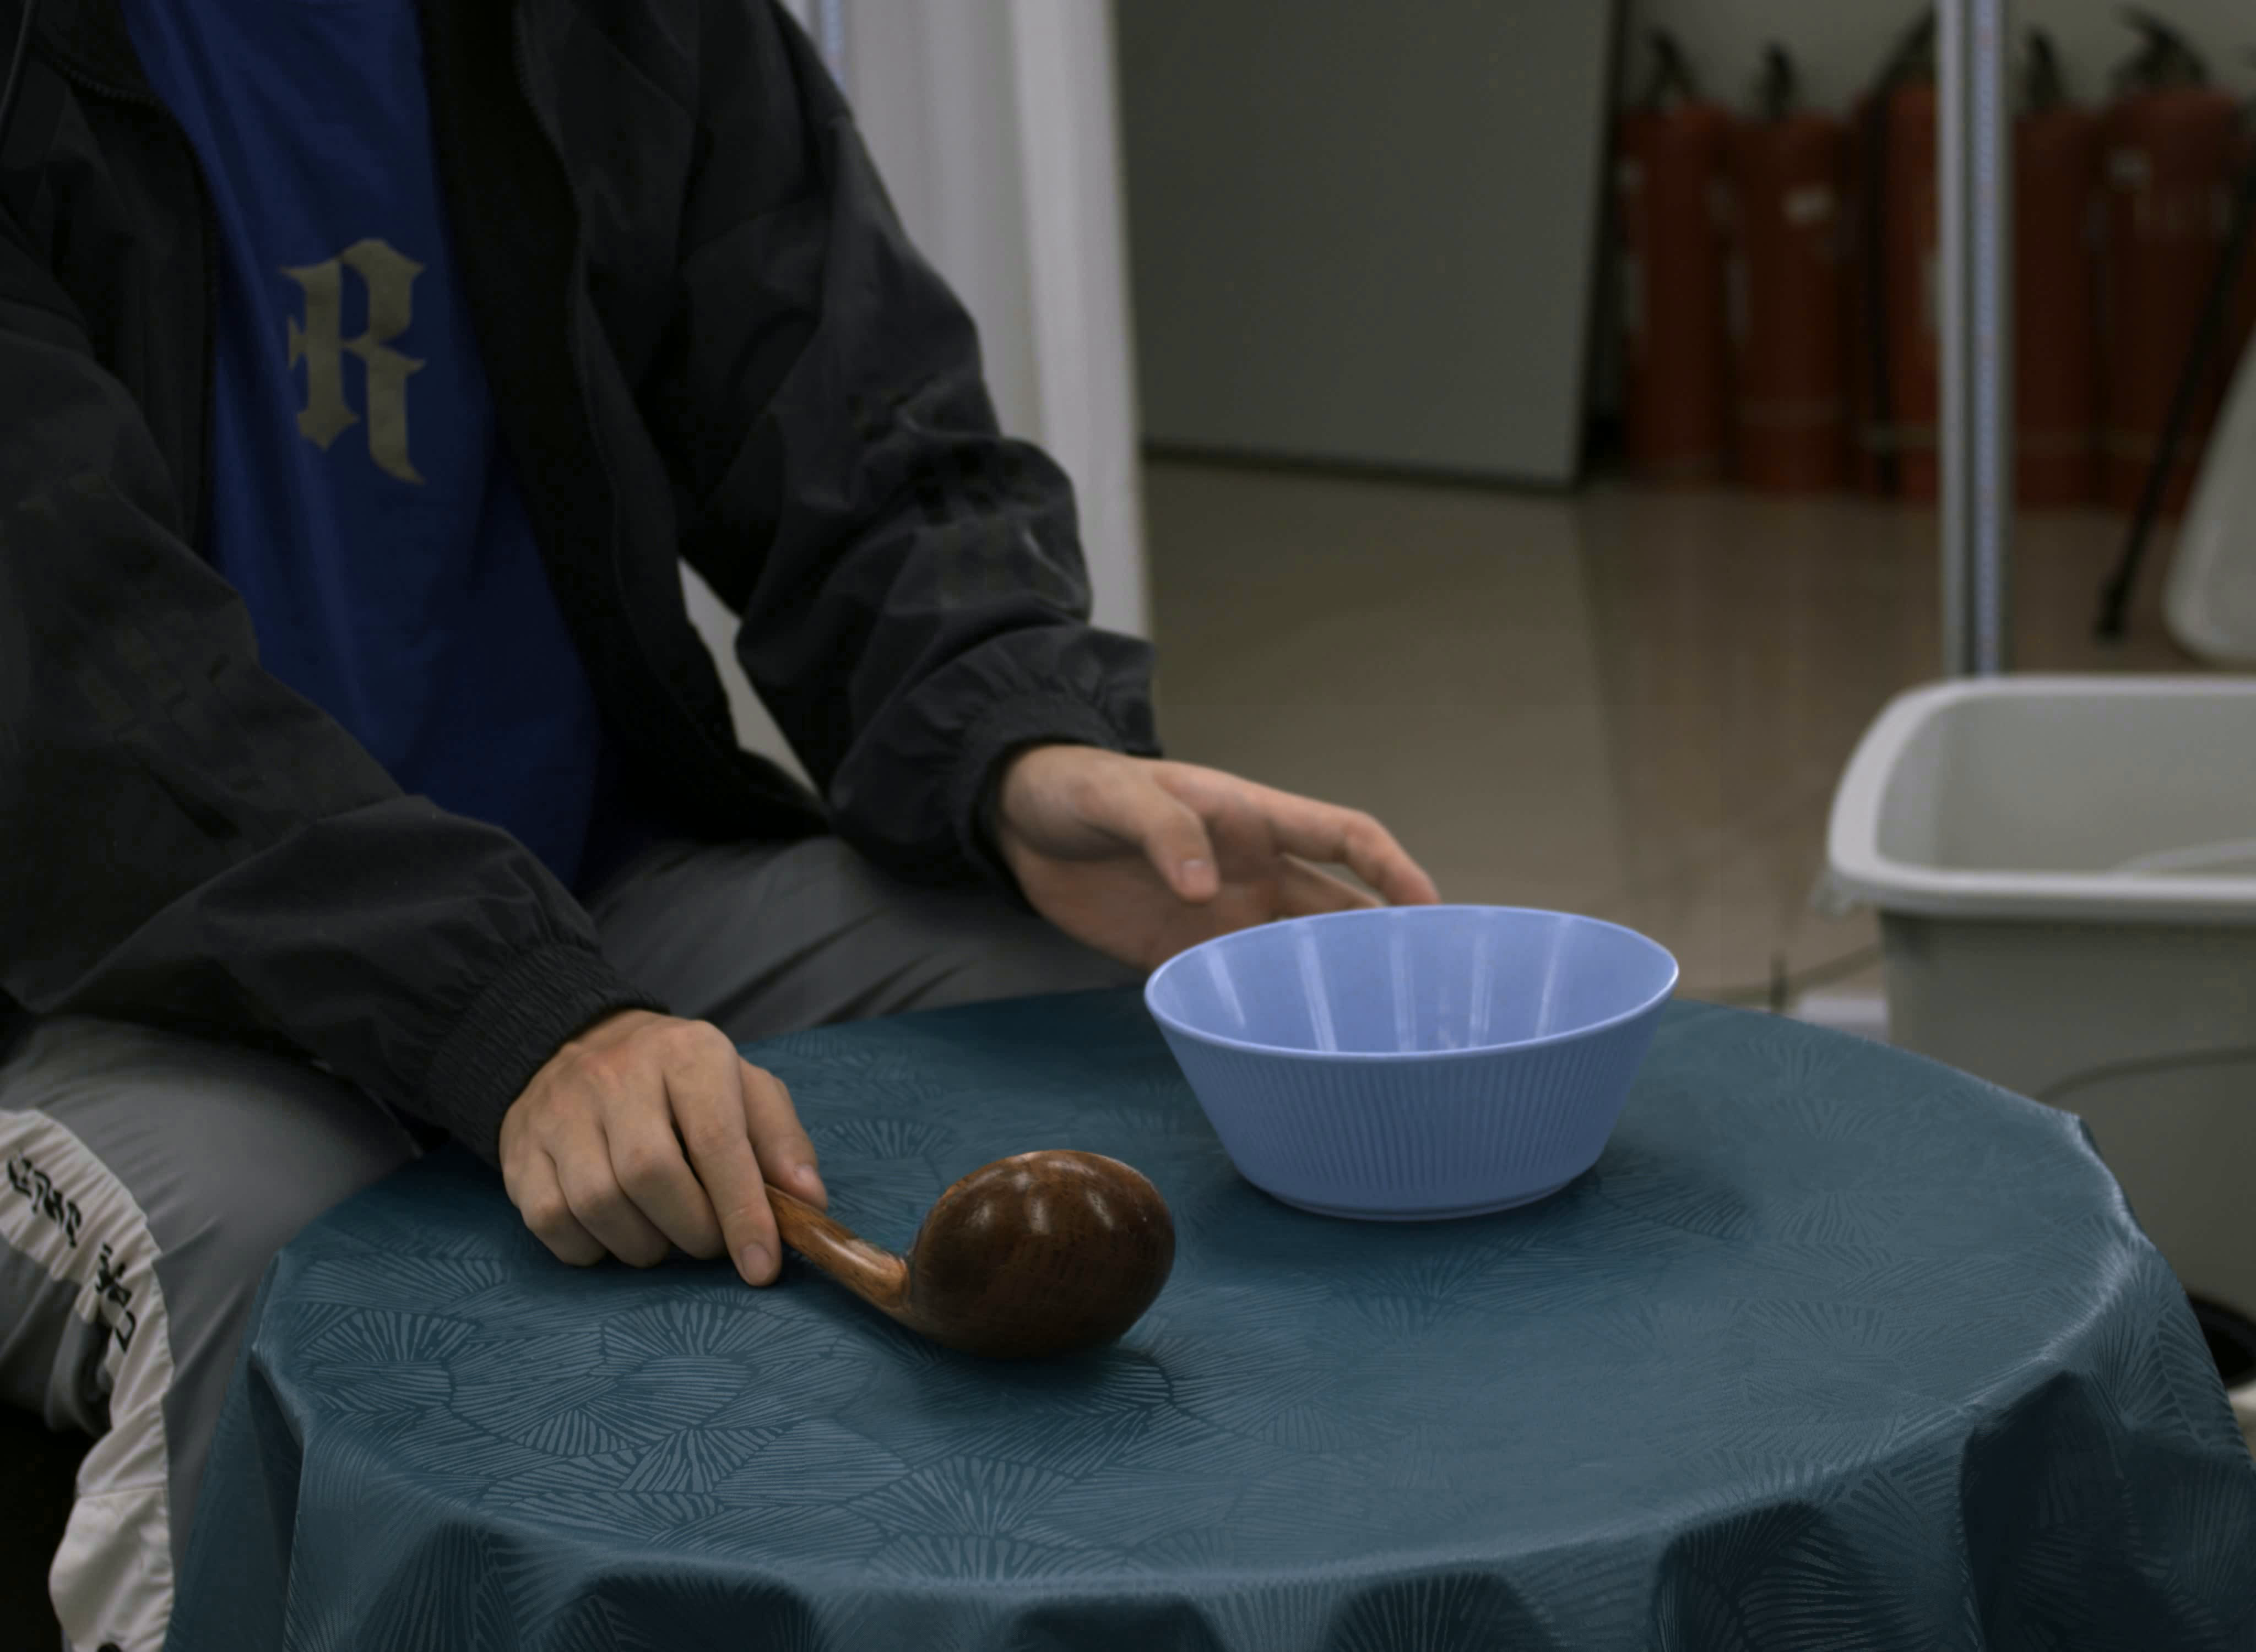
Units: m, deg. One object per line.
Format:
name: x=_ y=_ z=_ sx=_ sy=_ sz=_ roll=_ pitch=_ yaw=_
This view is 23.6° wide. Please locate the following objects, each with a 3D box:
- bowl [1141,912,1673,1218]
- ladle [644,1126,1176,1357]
bowl: x=0.092 y=0.080 z=1.763 sx=0.174 sy=0.071 sz=0.176 roll=-4 pitch=13 yaw=0
ladle: x=-0.076 y=0.110 z=1.690 sx=0.081 sy=0.077 sz=0.277 roll=37 pitch=-9 yaw=-27
